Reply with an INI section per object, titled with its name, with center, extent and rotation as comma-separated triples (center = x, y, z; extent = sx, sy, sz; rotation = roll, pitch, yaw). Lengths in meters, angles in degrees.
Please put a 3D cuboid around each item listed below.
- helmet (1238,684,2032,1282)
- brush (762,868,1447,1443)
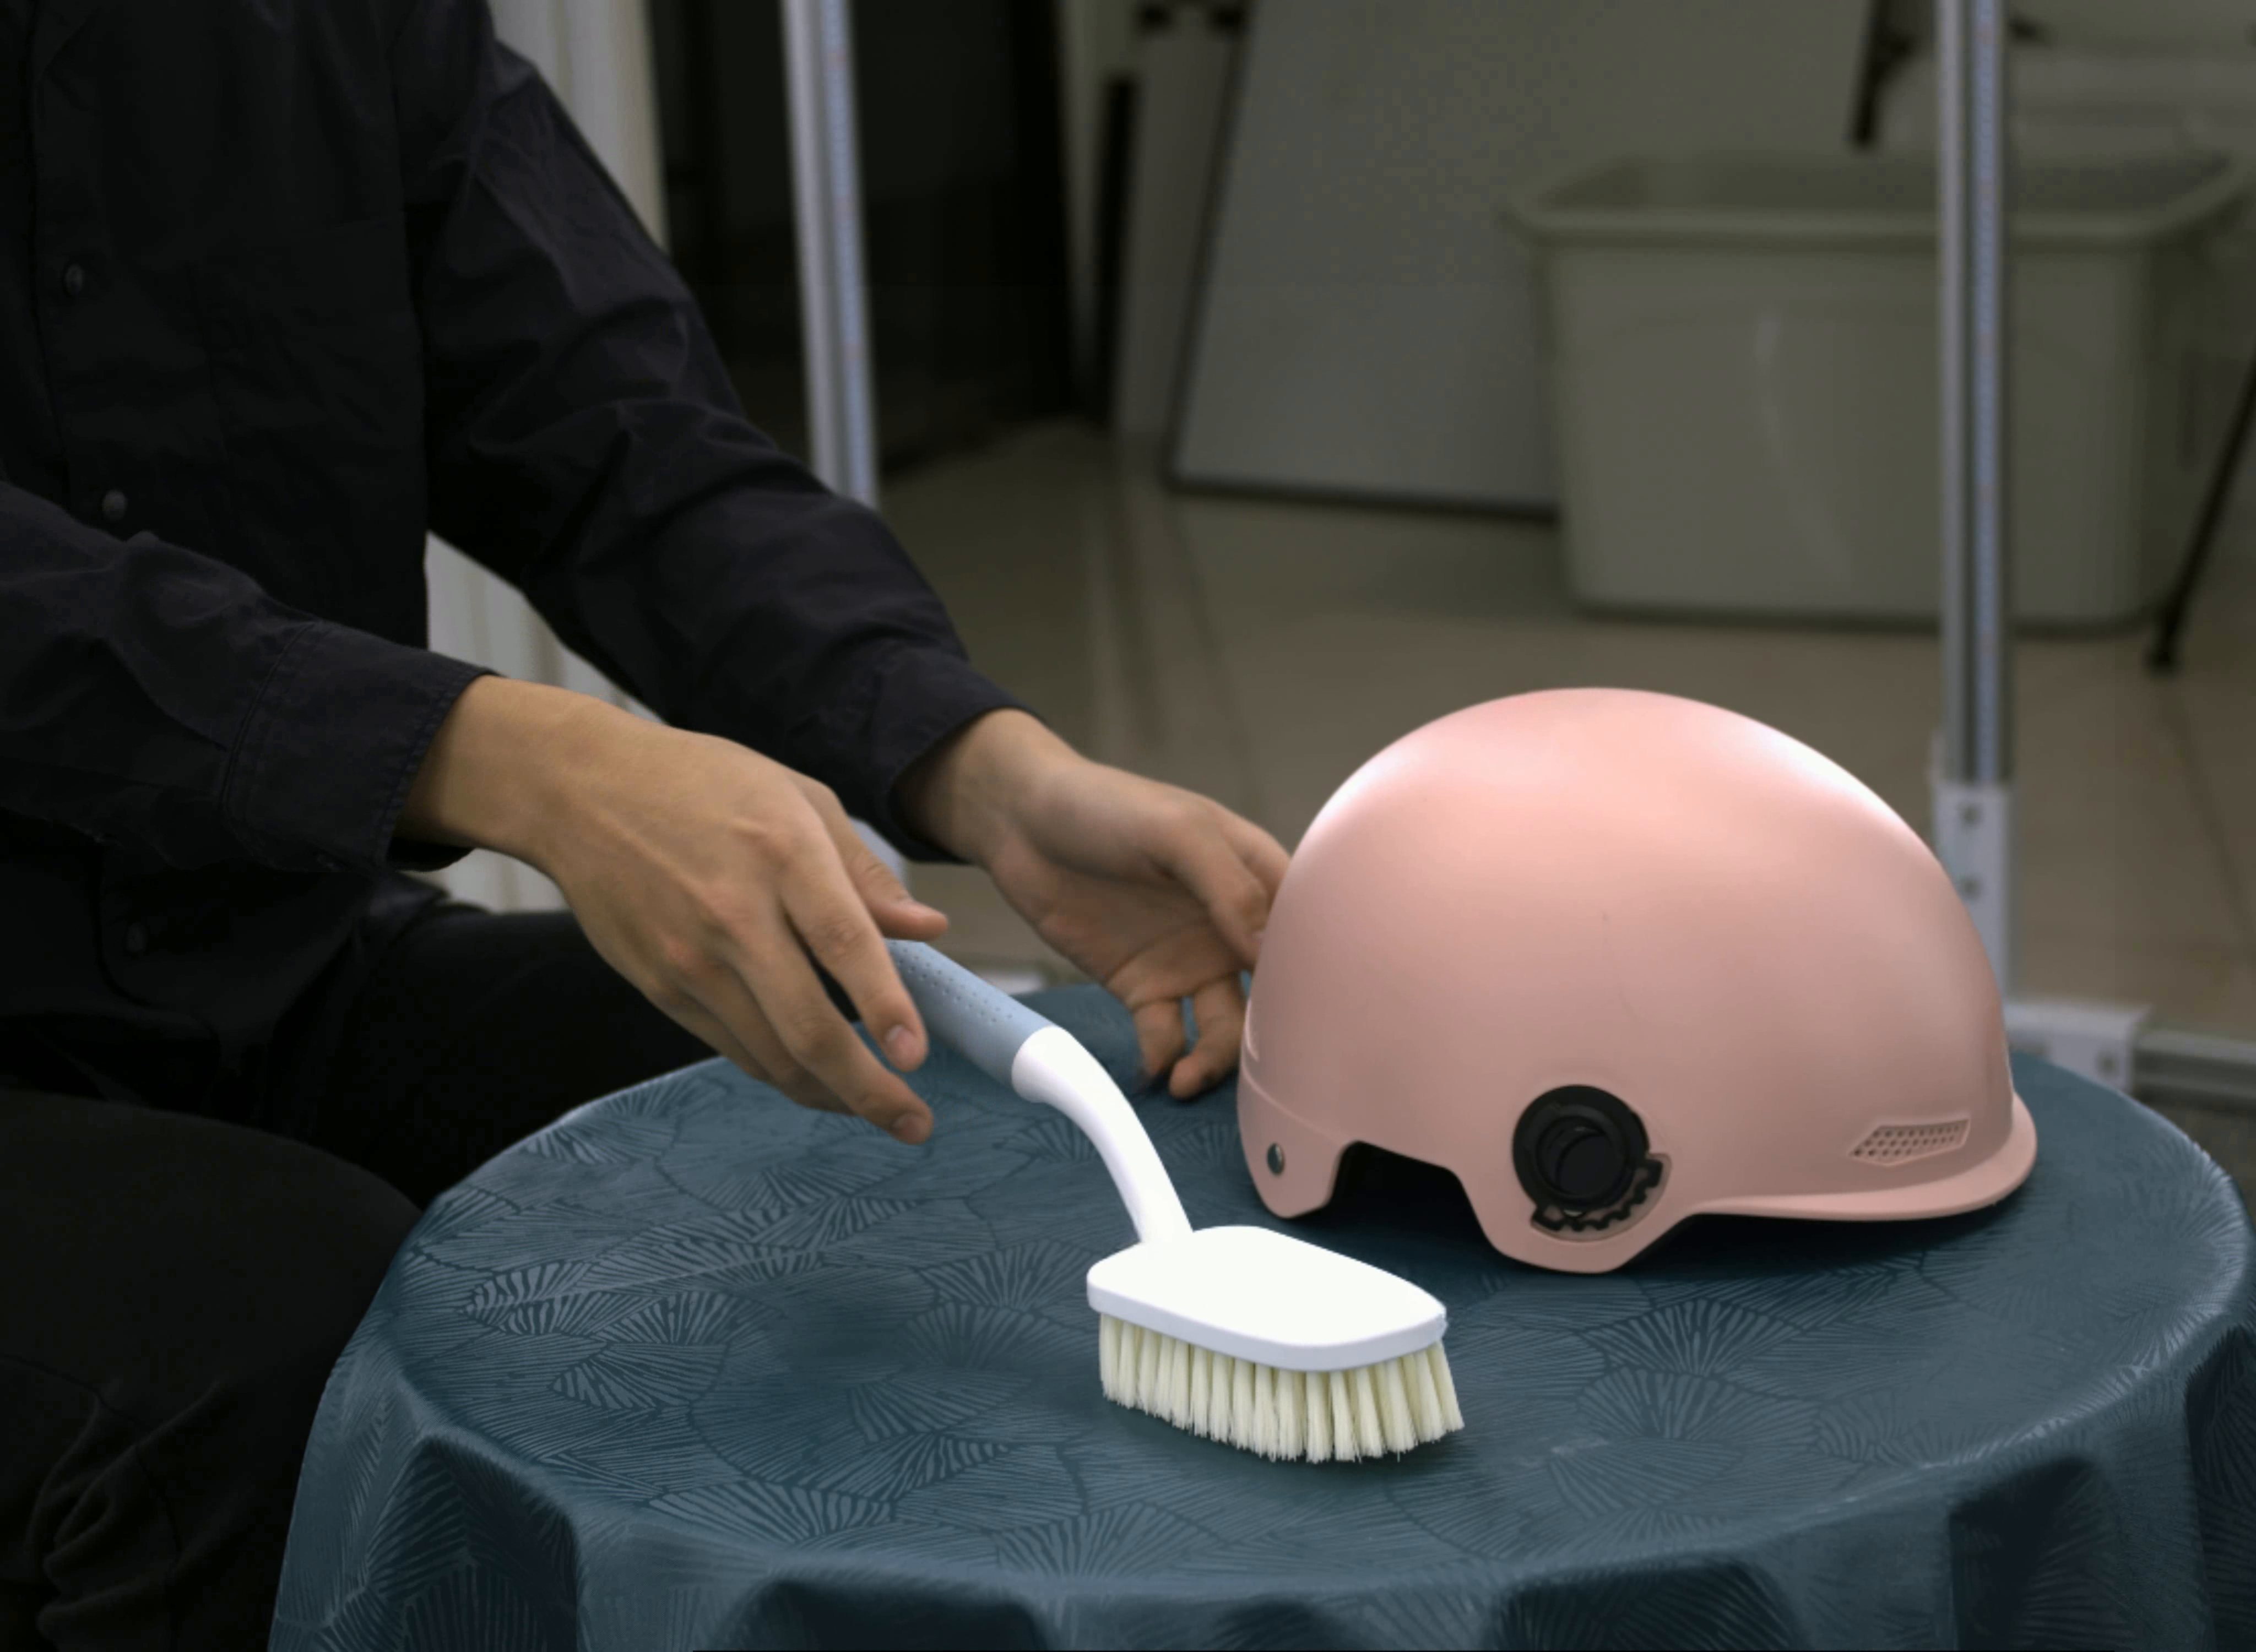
[helmet]
center = 0.165, 0.039, 1.745
extent = 0.266, 0.161, 0.231
rotation = 8, 17, 26
[brush]
center = -0.013, 0.112, 1.634
extent = 0.082, 0.085, 0.329
rotation = 34, -2, -44
